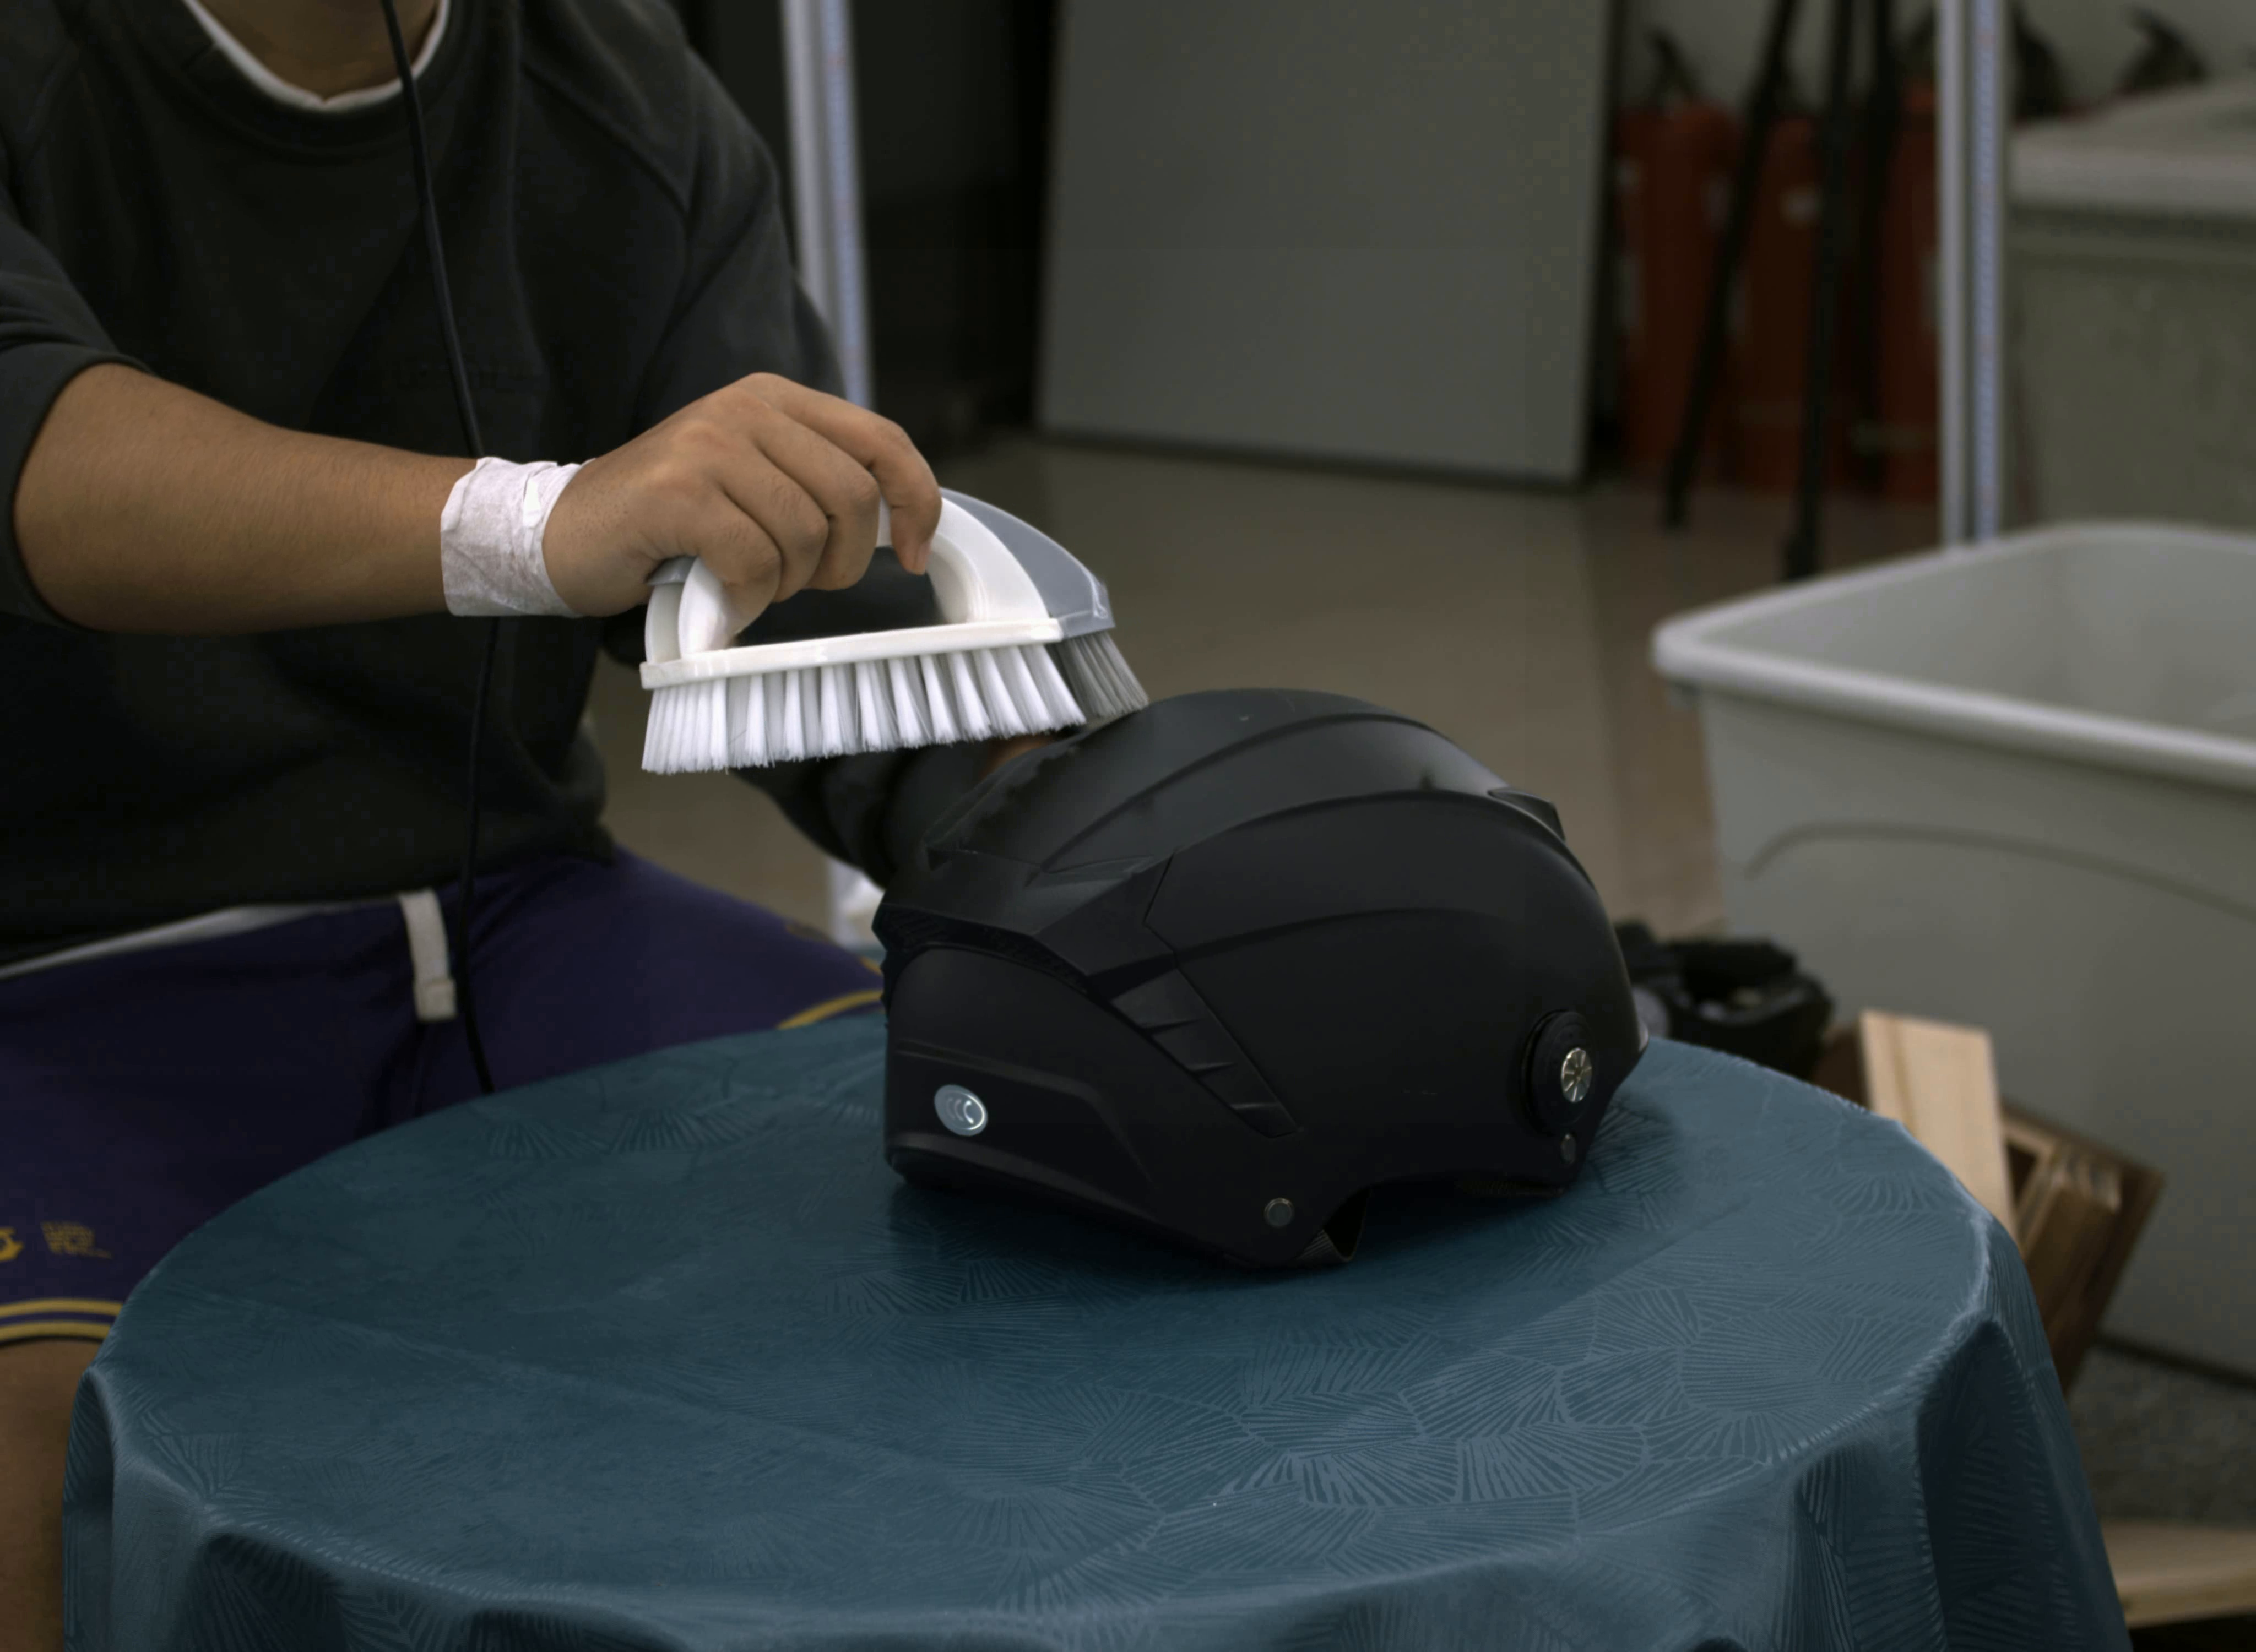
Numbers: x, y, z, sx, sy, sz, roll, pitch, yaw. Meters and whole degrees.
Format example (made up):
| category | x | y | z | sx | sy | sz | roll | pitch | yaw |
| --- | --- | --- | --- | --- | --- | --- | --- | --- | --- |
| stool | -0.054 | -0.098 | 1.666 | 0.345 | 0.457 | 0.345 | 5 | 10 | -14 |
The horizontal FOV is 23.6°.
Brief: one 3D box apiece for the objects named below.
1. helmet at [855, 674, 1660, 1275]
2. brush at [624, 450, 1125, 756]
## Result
| category | x | y | z | sx | sy | sz | roll | pitch | yaw |
| --- | --- | --- | --- | --- | --- | --- | --- | --- | --- |
| helmet | 0.042 | 0.037 | 1.766 | 0.271 | 0.174 | 0.249 | -21 | 21 | -39 |
| brush | -0.078 | -0.072 | 1.720 | 0.171 | 0.095 | 0.062 | -4 | 1 | -29 |
